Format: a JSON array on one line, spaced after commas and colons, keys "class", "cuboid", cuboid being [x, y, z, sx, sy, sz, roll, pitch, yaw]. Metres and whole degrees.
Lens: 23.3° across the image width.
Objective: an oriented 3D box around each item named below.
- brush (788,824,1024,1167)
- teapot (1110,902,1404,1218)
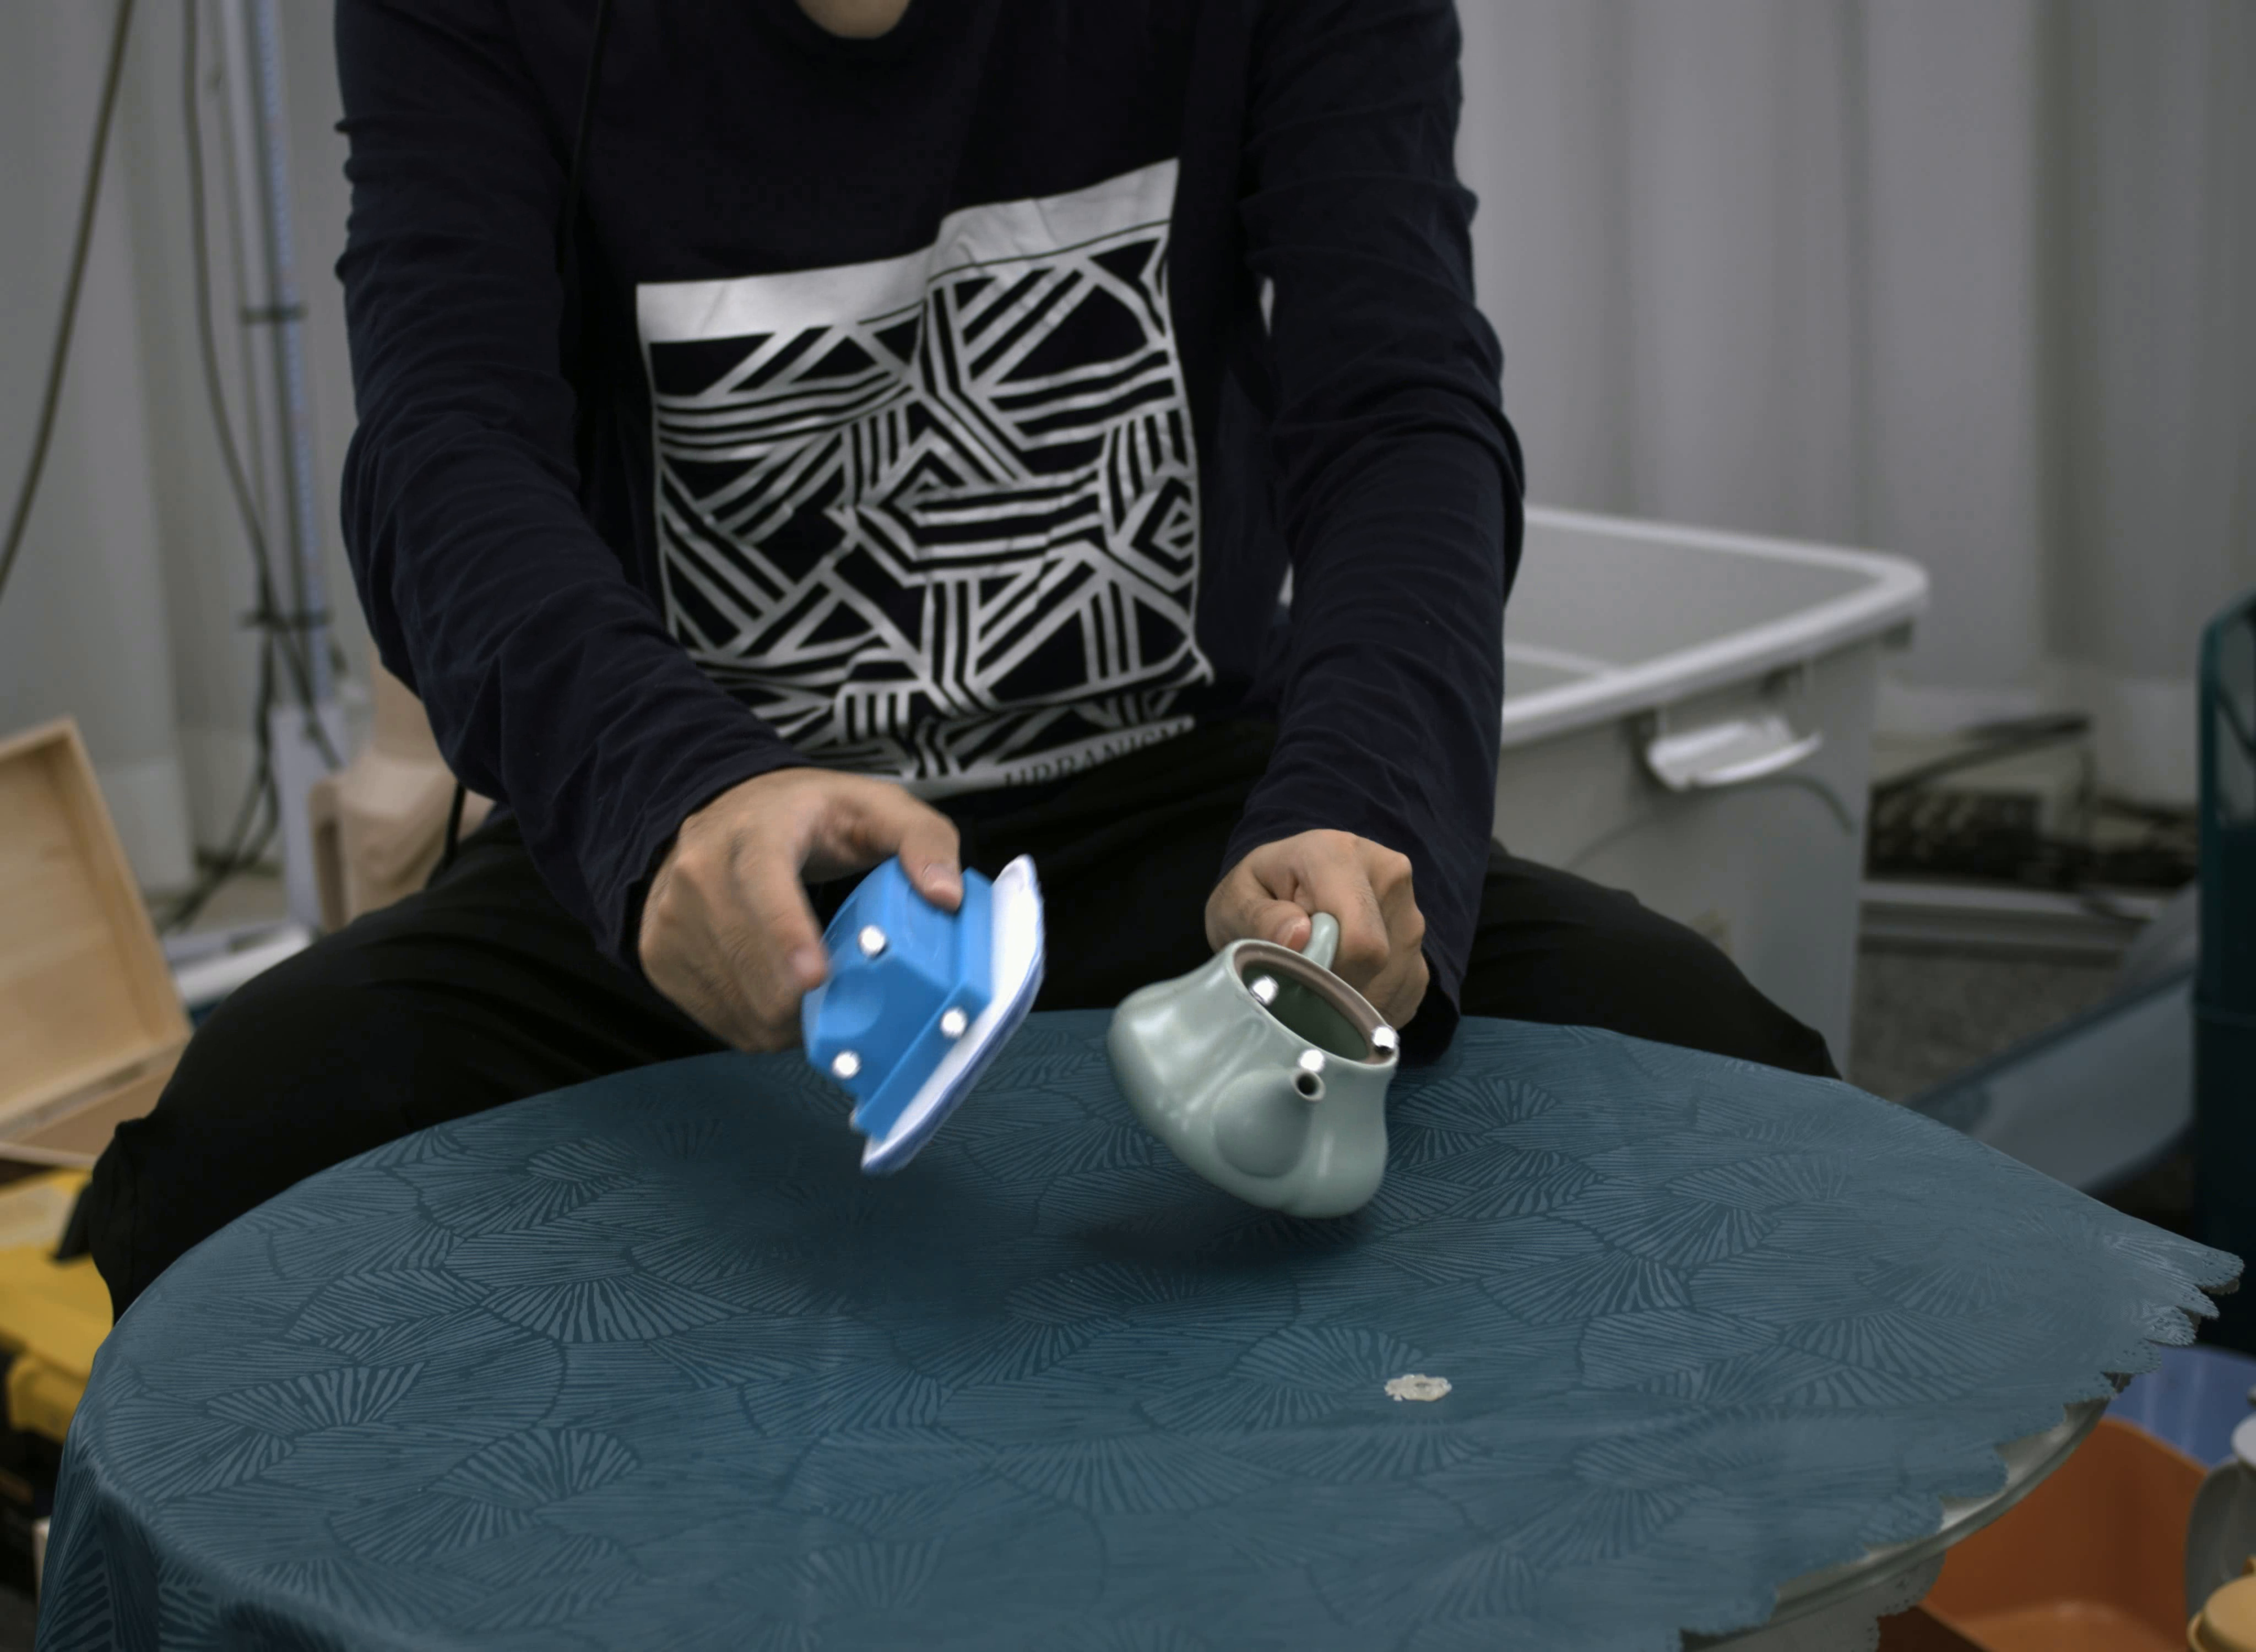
[{"class": "brush", "cuboid": [-0.074, 0.046, 1.651, 0.055, 0.083, 0.145, 39, 13, -14]}, {"class": "teapot", "cuboid": [0.045, 0.072, 1.665, 0.096, 0.061, 0.138, 28, 24, -9]}]
